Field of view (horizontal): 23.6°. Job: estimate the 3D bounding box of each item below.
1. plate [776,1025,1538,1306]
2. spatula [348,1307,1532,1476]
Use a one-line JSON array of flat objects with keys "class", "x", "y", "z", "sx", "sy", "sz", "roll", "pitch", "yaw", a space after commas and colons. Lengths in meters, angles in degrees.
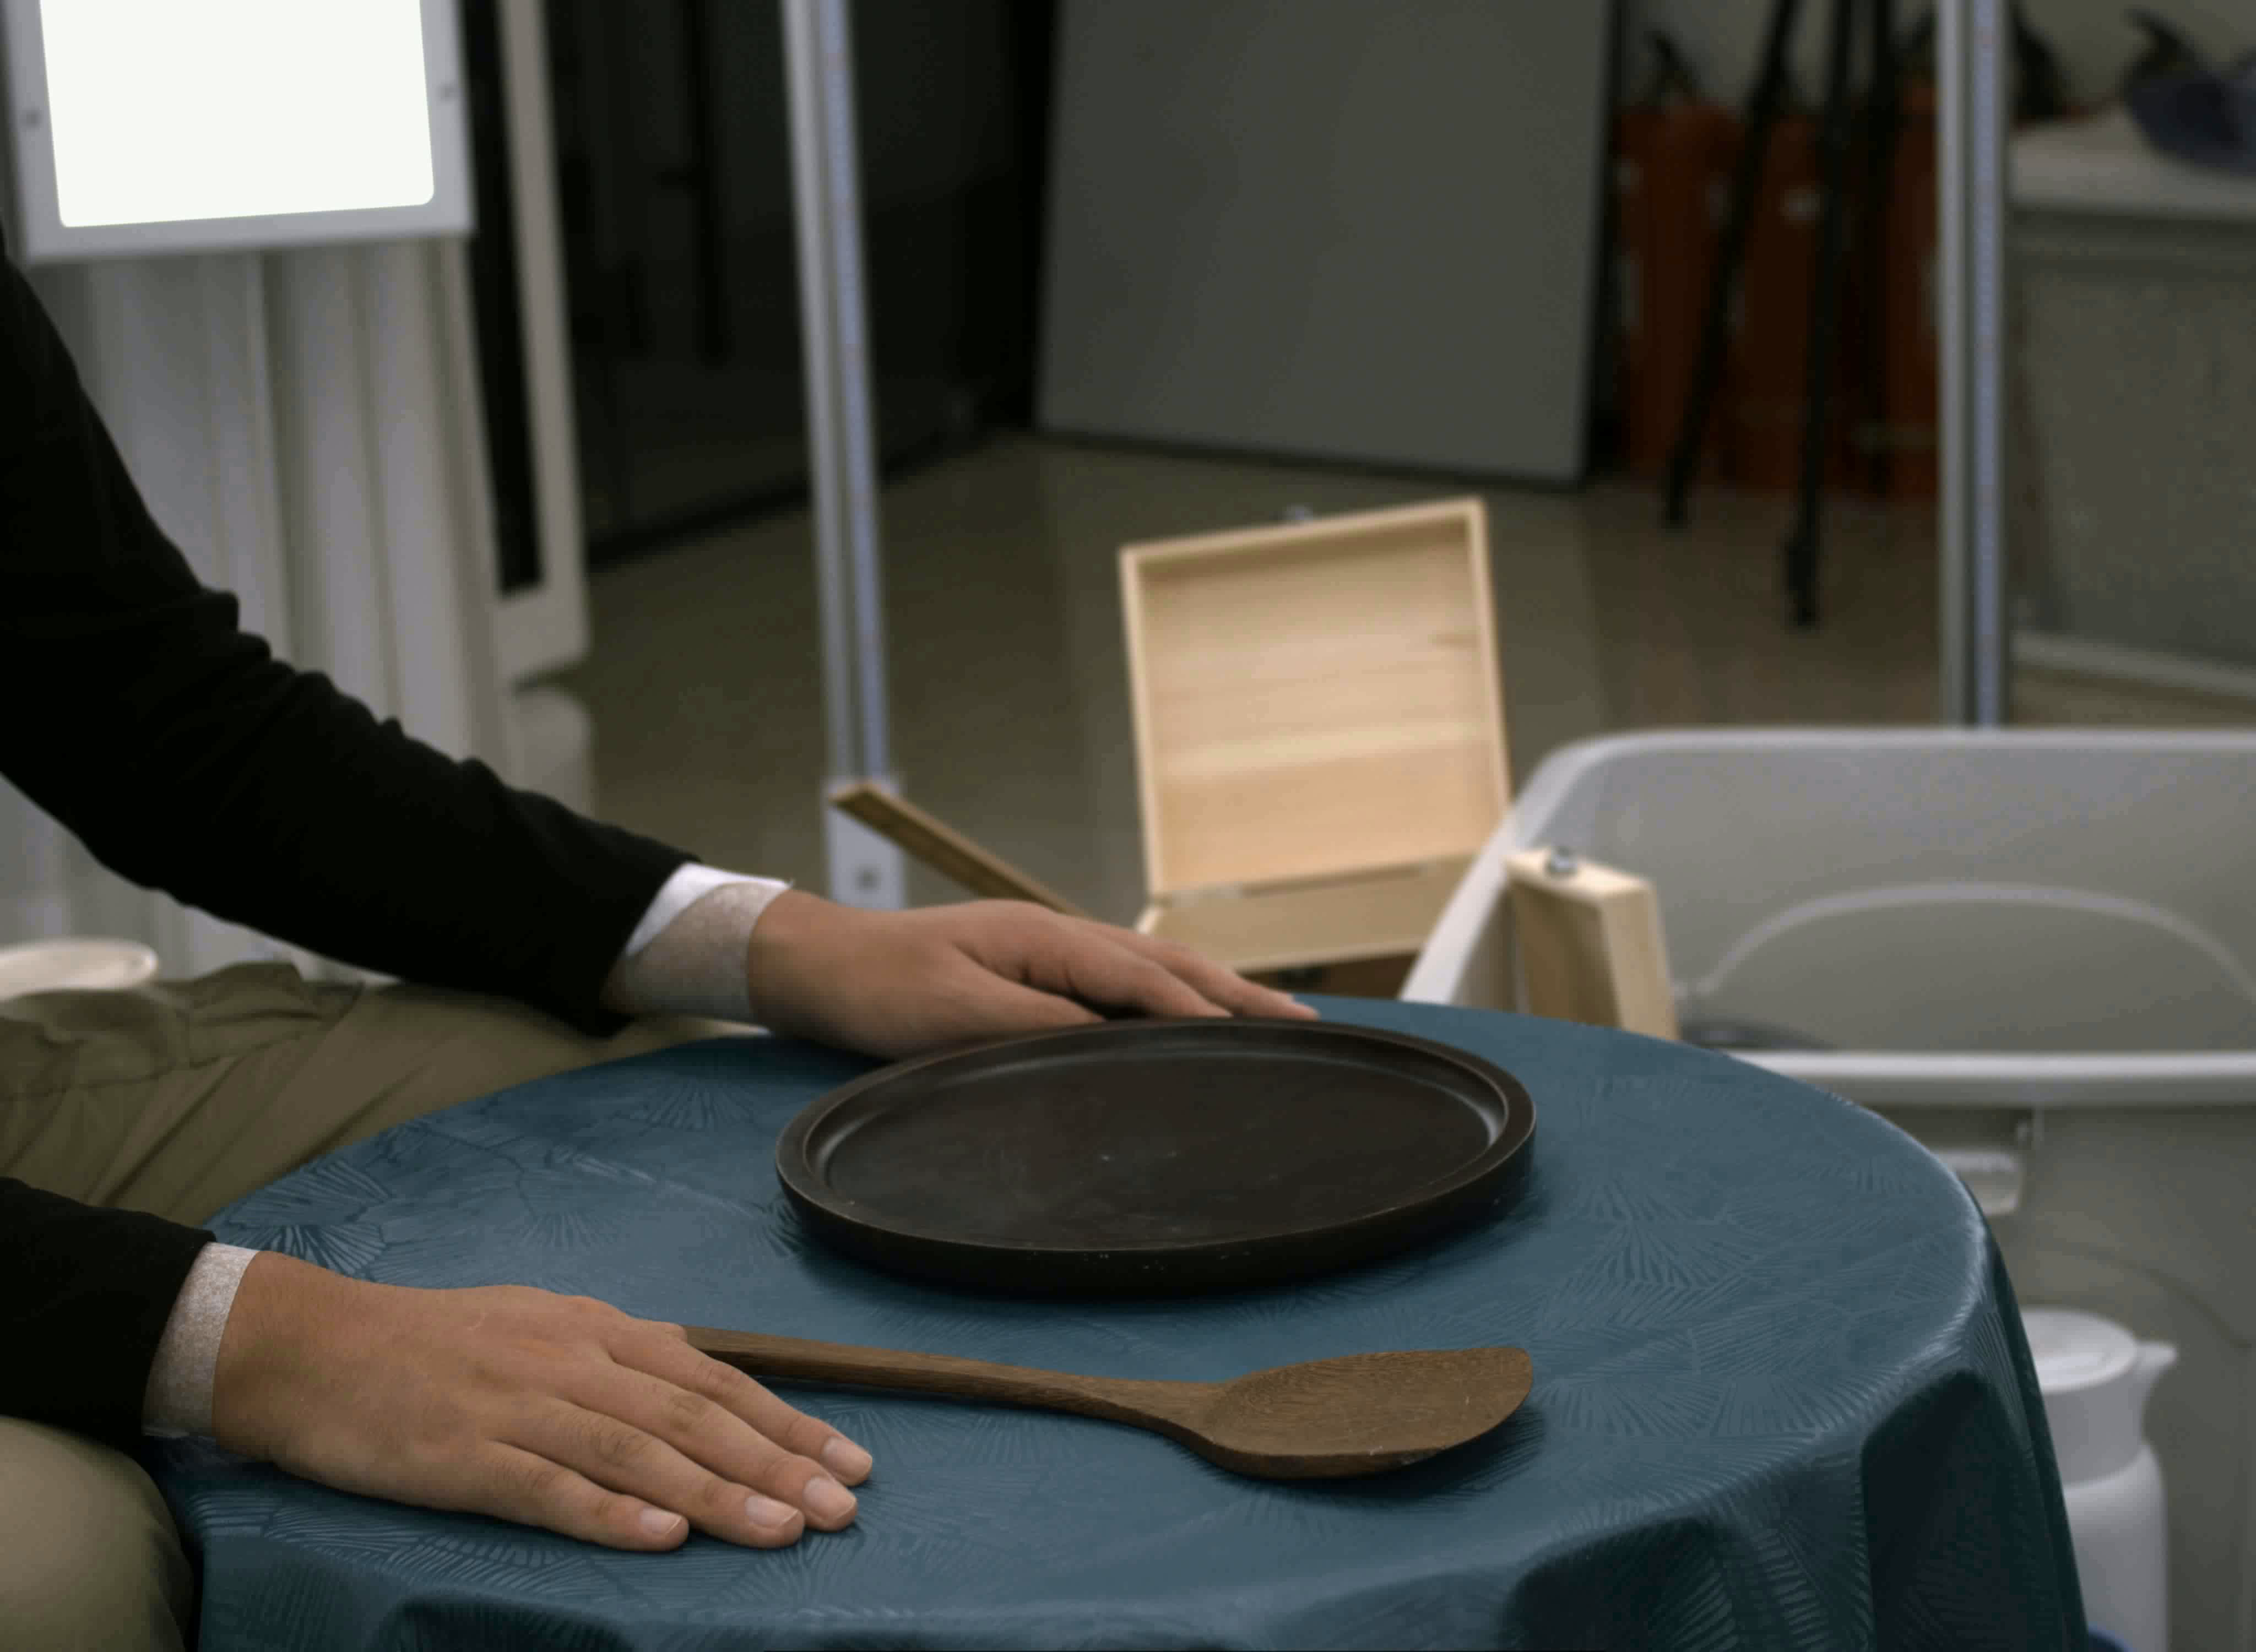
[{"class": "plate", "x": 0.010, "y": 0.108, "z": 1.768, "sx": 0.251, "sy": 0.029, "sz": 0.255, "roll": -5, "pitch": 15, "yaw": 0}, {"class": "spatula", "x": -0.066, "y": 0.162, "z": 1.594, "sx": 0.386, "sy": 0.016, "sz": 0.095, "roll": 2, "pitch": 14, "yaw": 25}]
